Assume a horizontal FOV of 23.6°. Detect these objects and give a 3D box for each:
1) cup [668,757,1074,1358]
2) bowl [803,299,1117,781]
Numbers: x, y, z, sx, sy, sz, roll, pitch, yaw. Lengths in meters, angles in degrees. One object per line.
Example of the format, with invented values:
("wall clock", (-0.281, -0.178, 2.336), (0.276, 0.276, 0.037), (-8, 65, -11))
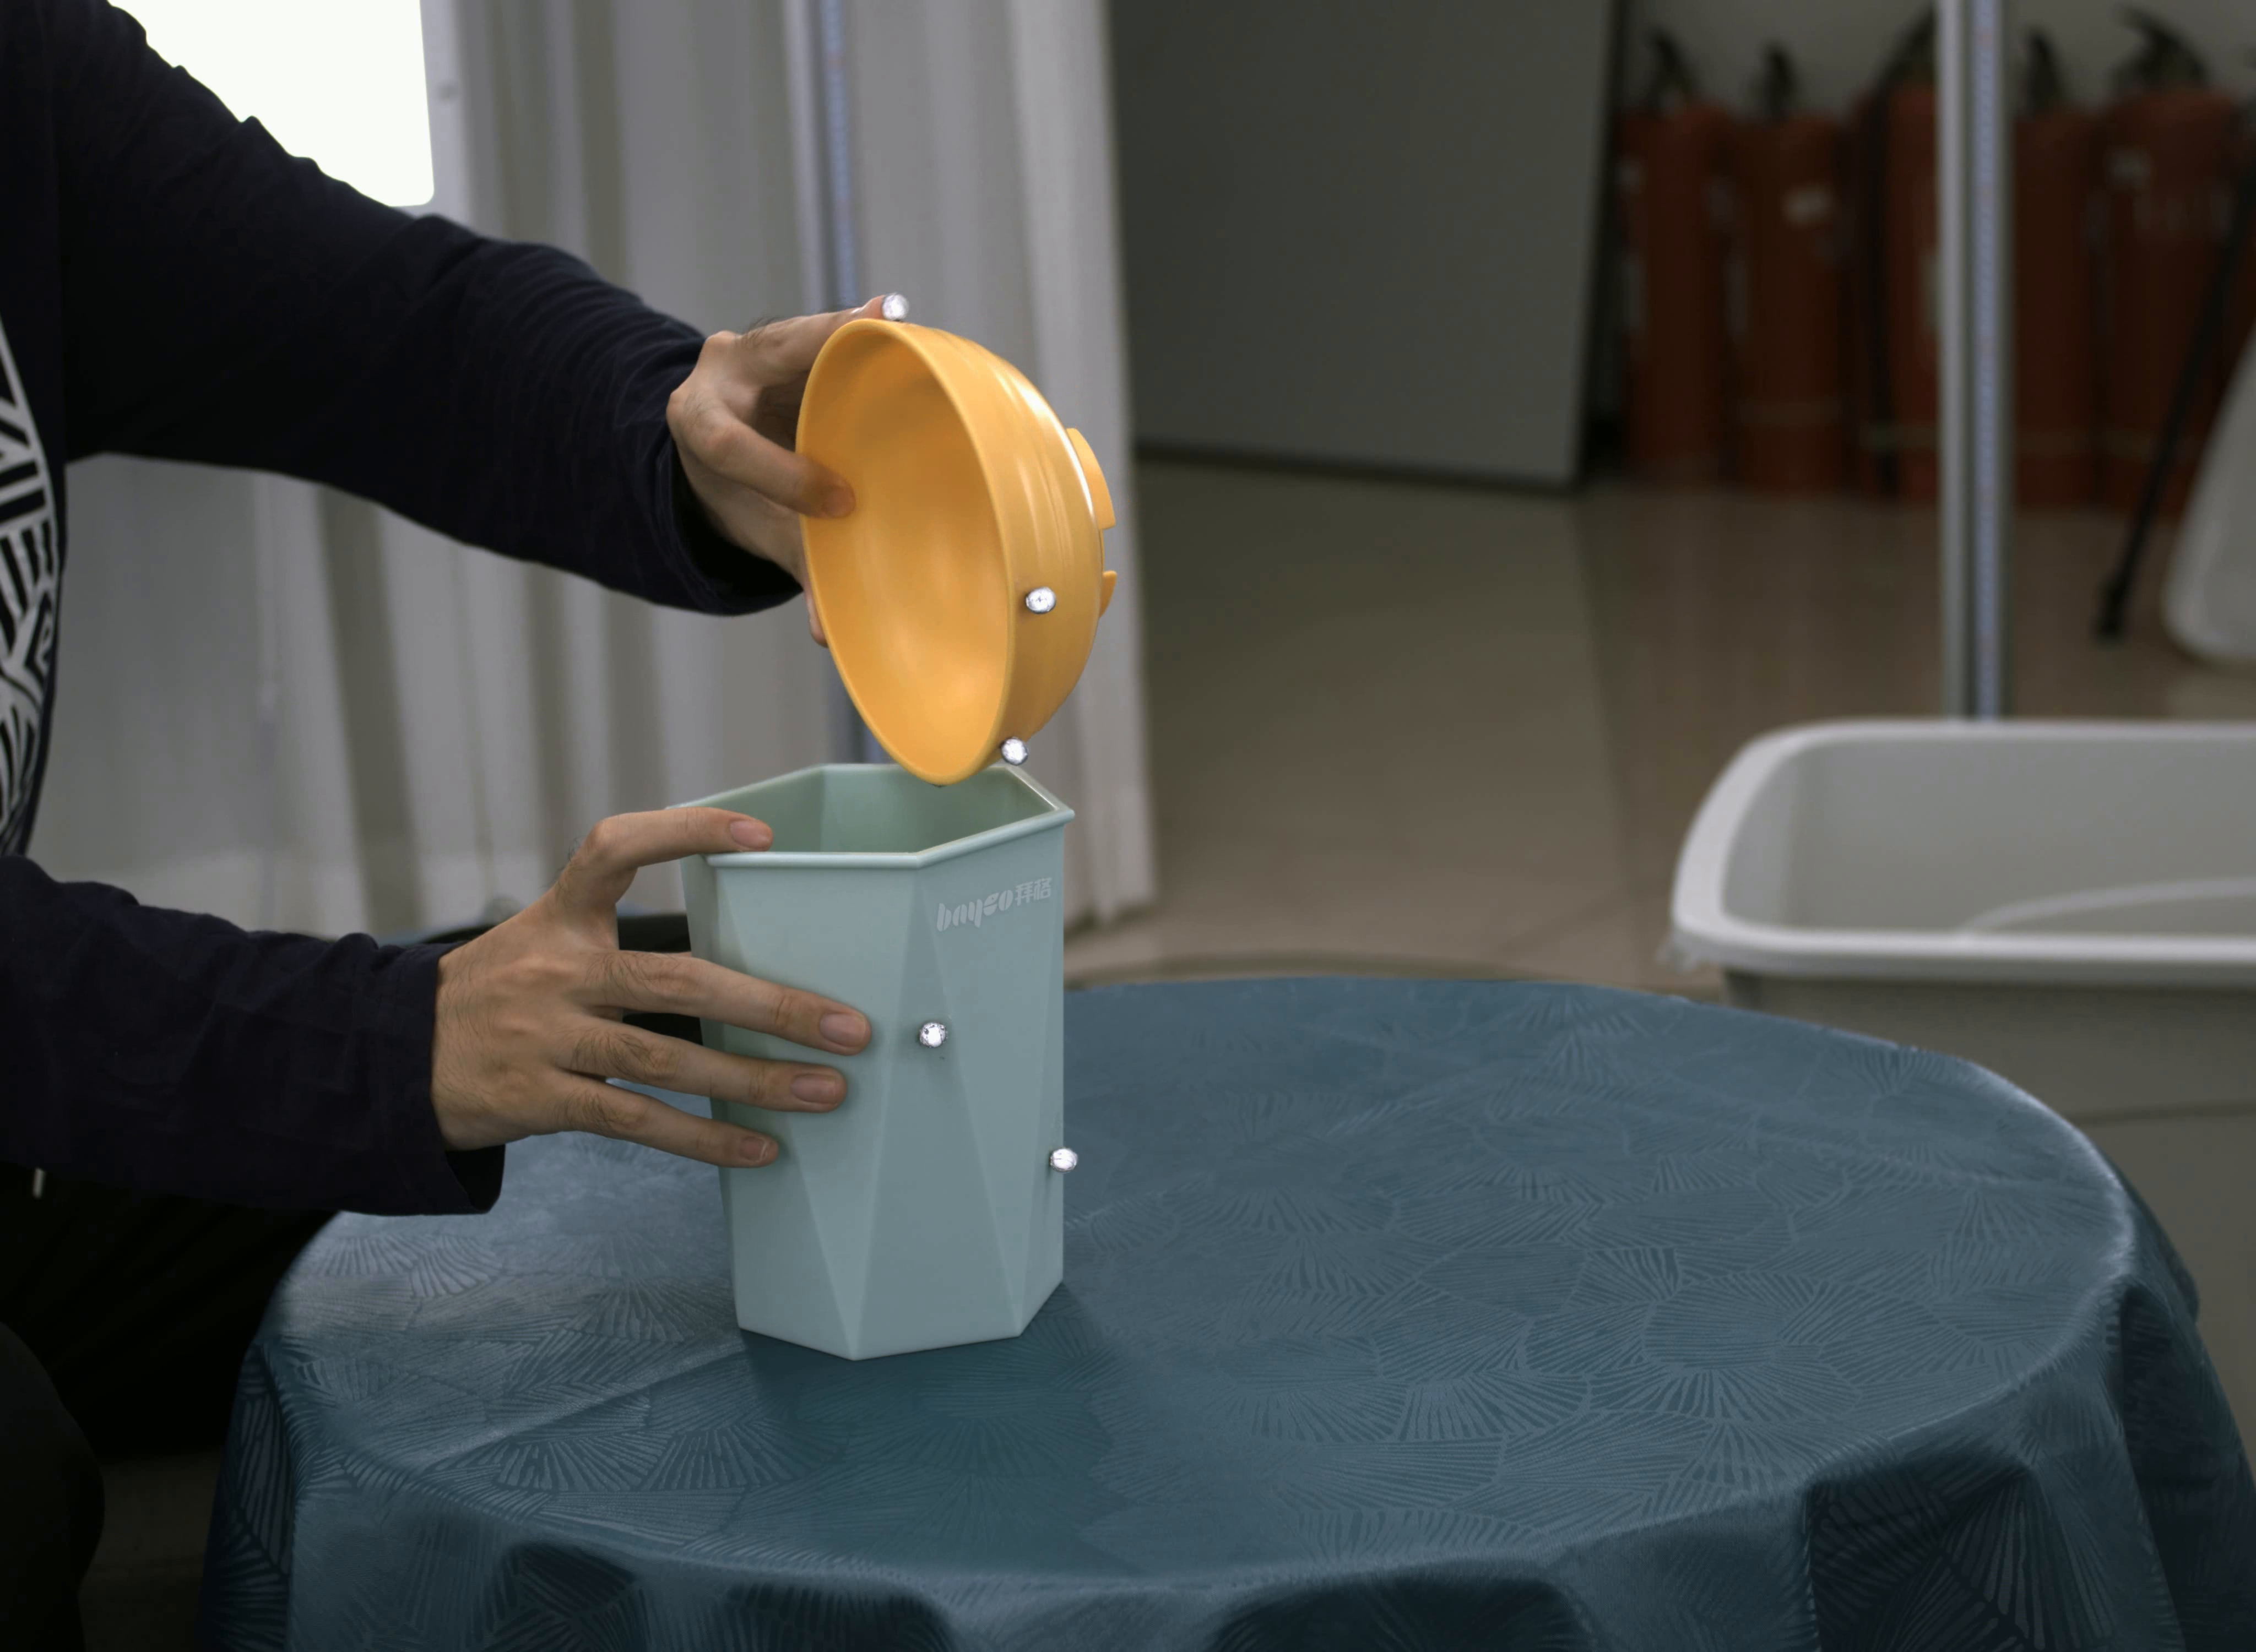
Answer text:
("cup", (-0.073, 0.070, 1.659), (0.116, 0.165, 0.128), (7, 16, 43))
("bowl", (-0.043, -0.090, 1.648), (0.059, 0.147, 0.147), (-10, 15, -25))
